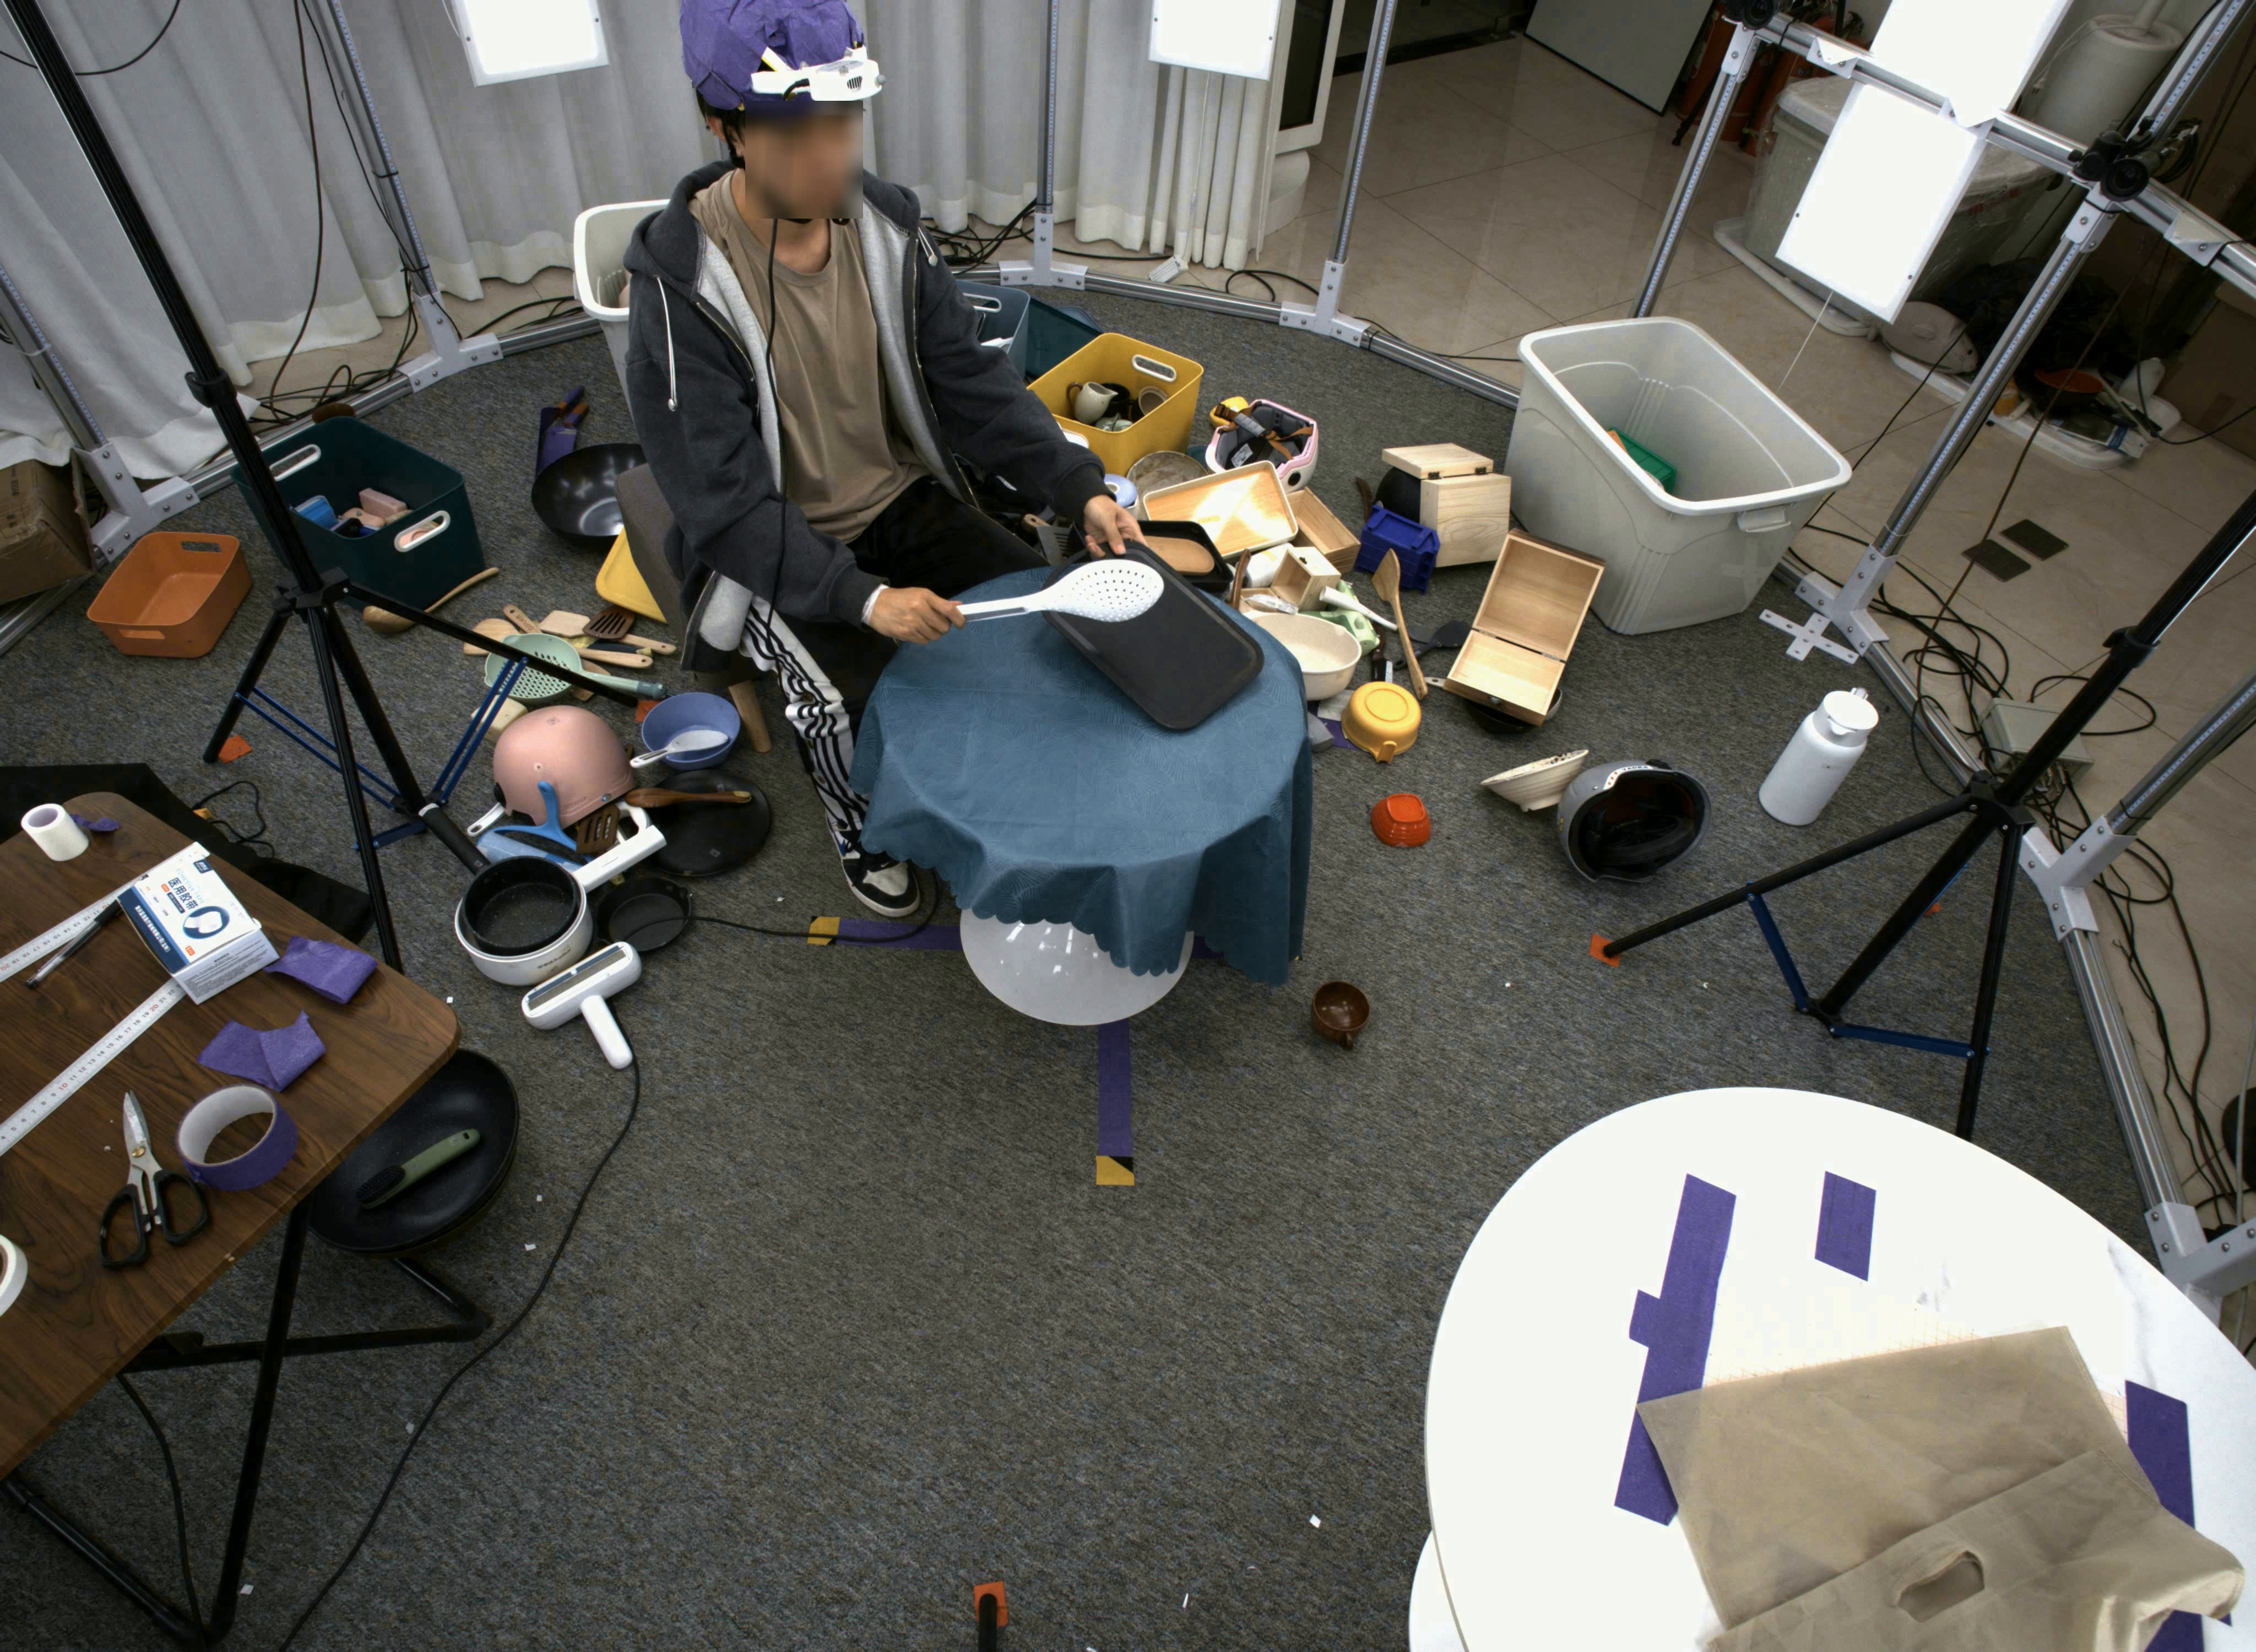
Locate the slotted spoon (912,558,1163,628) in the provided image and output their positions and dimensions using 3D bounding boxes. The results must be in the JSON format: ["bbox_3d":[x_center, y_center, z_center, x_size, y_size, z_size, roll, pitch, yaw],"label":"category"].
[{"bbox_3d":[-0.126,-0.305,1.757,0.350,0.133,0.046,-2,67,13],"label":"slotted spoon"}]

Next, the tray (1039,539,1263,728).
[{"bbox_3d":[0.027,-0.288,1.855,0.213,0.009,0.329,-39,72,-25],"label":"tray"}]
